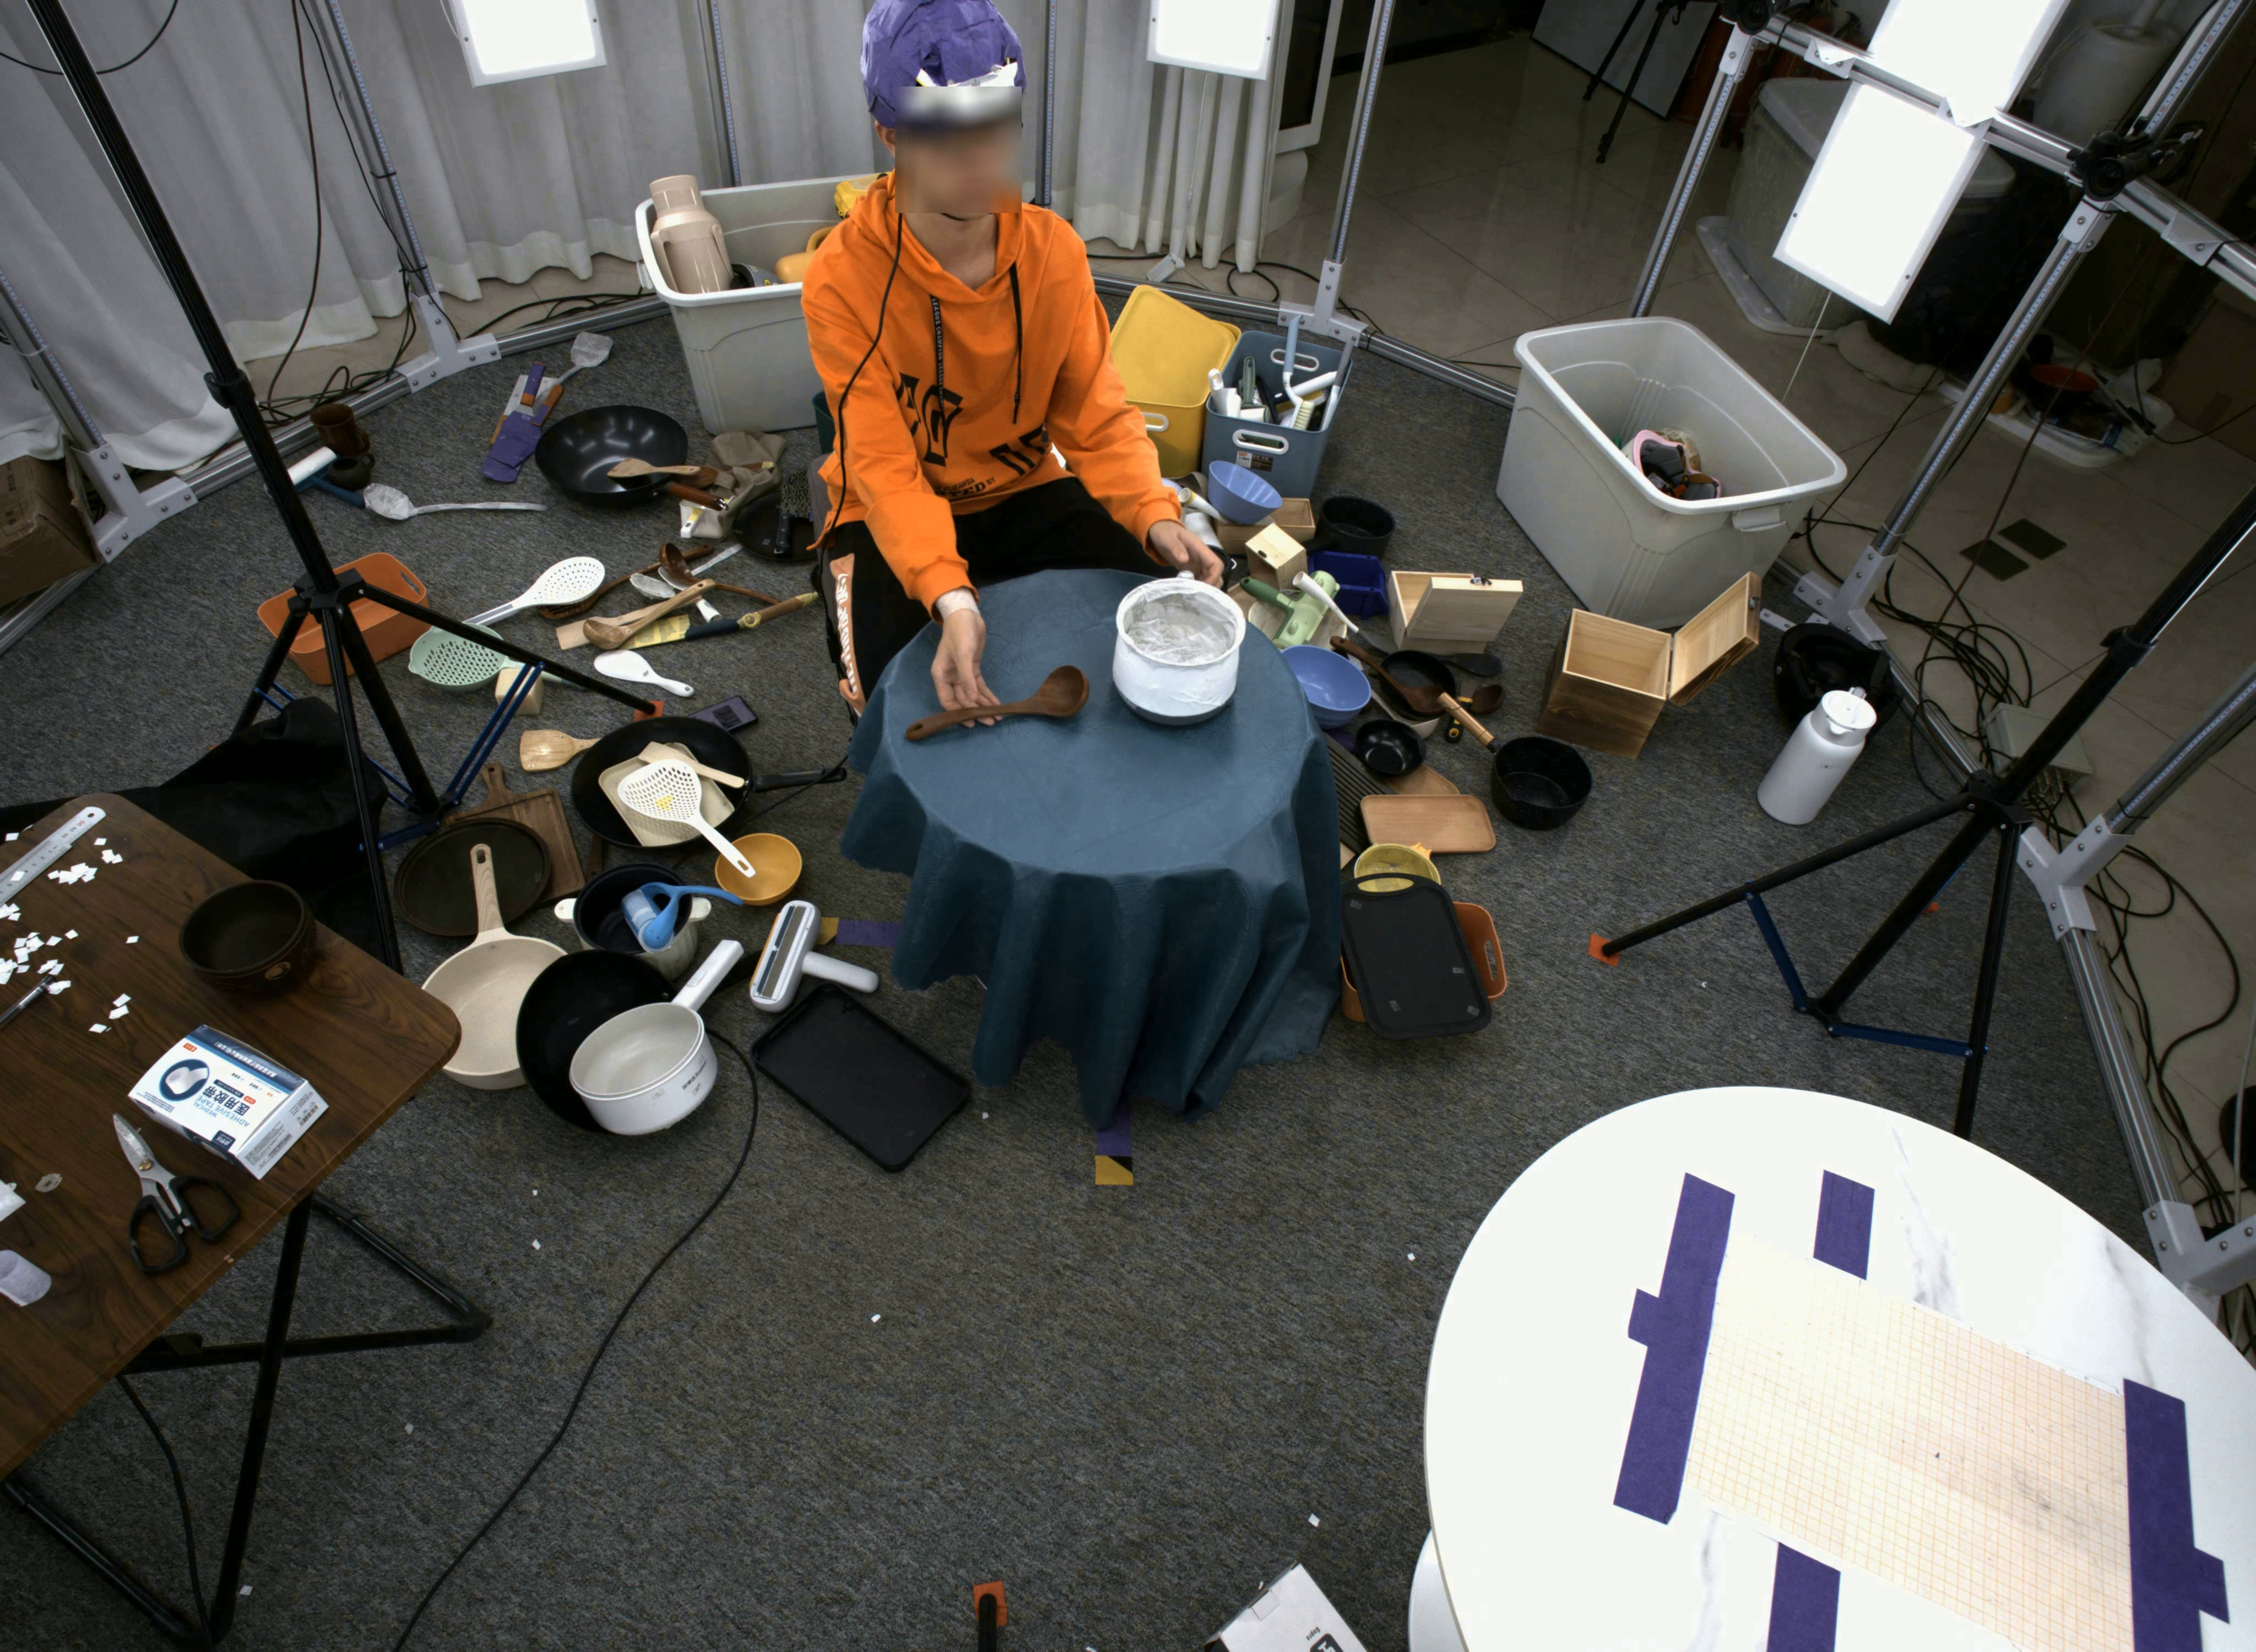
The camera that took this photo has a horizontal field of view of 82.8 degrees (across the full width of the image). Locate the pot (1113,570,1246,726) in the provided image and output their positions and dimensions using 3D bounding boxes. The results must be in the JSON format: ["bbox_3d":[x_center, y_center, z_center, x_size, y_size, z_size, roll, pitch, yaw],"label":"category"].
[{"bbox_3d":[0.070,-0.261,1.811,0.178,0.133,0.239,6,49,0],"label":"pot"}]

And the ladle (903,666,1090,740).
[{"bbox_3d":[-0.179,-0.166,1.760,0.260,0.063,0.078,-11,52,-14],"label":"ladle"}]
